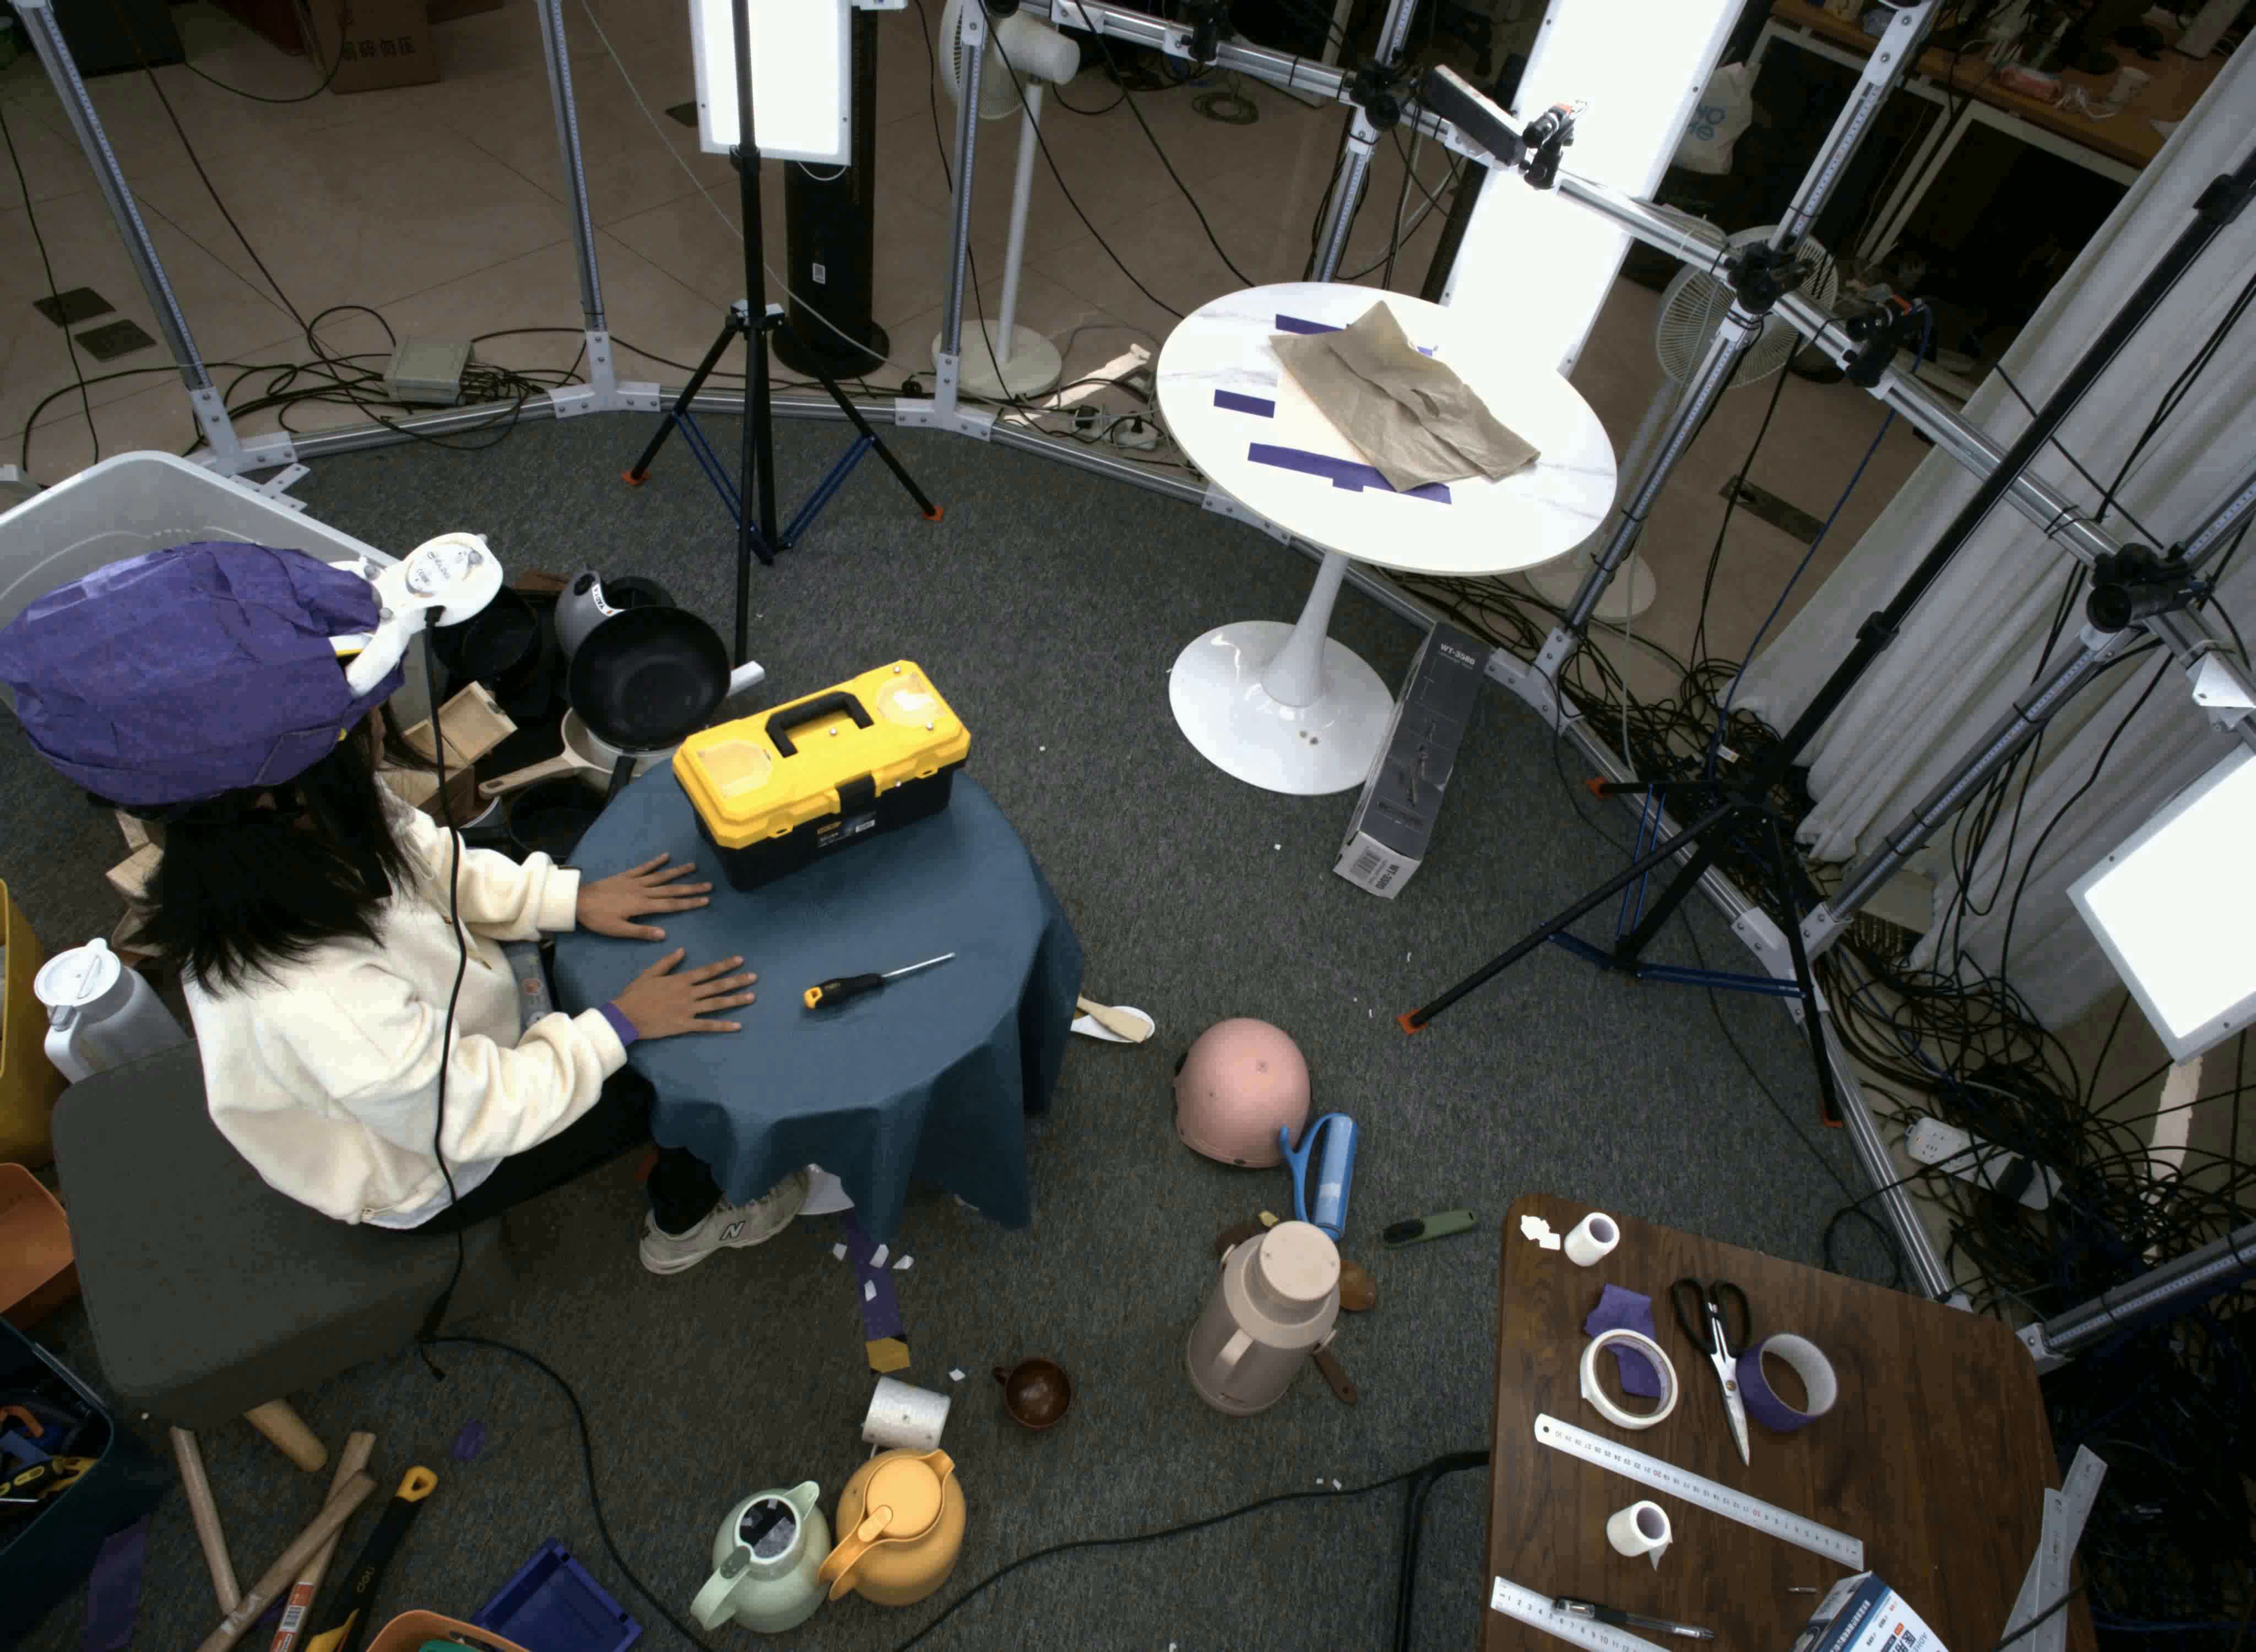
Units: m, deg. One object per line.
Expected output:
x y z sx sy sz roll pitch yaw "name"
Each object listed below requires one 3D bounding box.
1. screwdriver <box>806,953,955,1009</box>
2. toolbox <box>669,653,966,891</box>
-0.300 0.182 1.595 0.197 0.032 0.030 -17 58 -27 "screwdriver"
-0.392 -0.068 1.666 0.353 0.176 0.177 -25 62 -29 "toolbox"
